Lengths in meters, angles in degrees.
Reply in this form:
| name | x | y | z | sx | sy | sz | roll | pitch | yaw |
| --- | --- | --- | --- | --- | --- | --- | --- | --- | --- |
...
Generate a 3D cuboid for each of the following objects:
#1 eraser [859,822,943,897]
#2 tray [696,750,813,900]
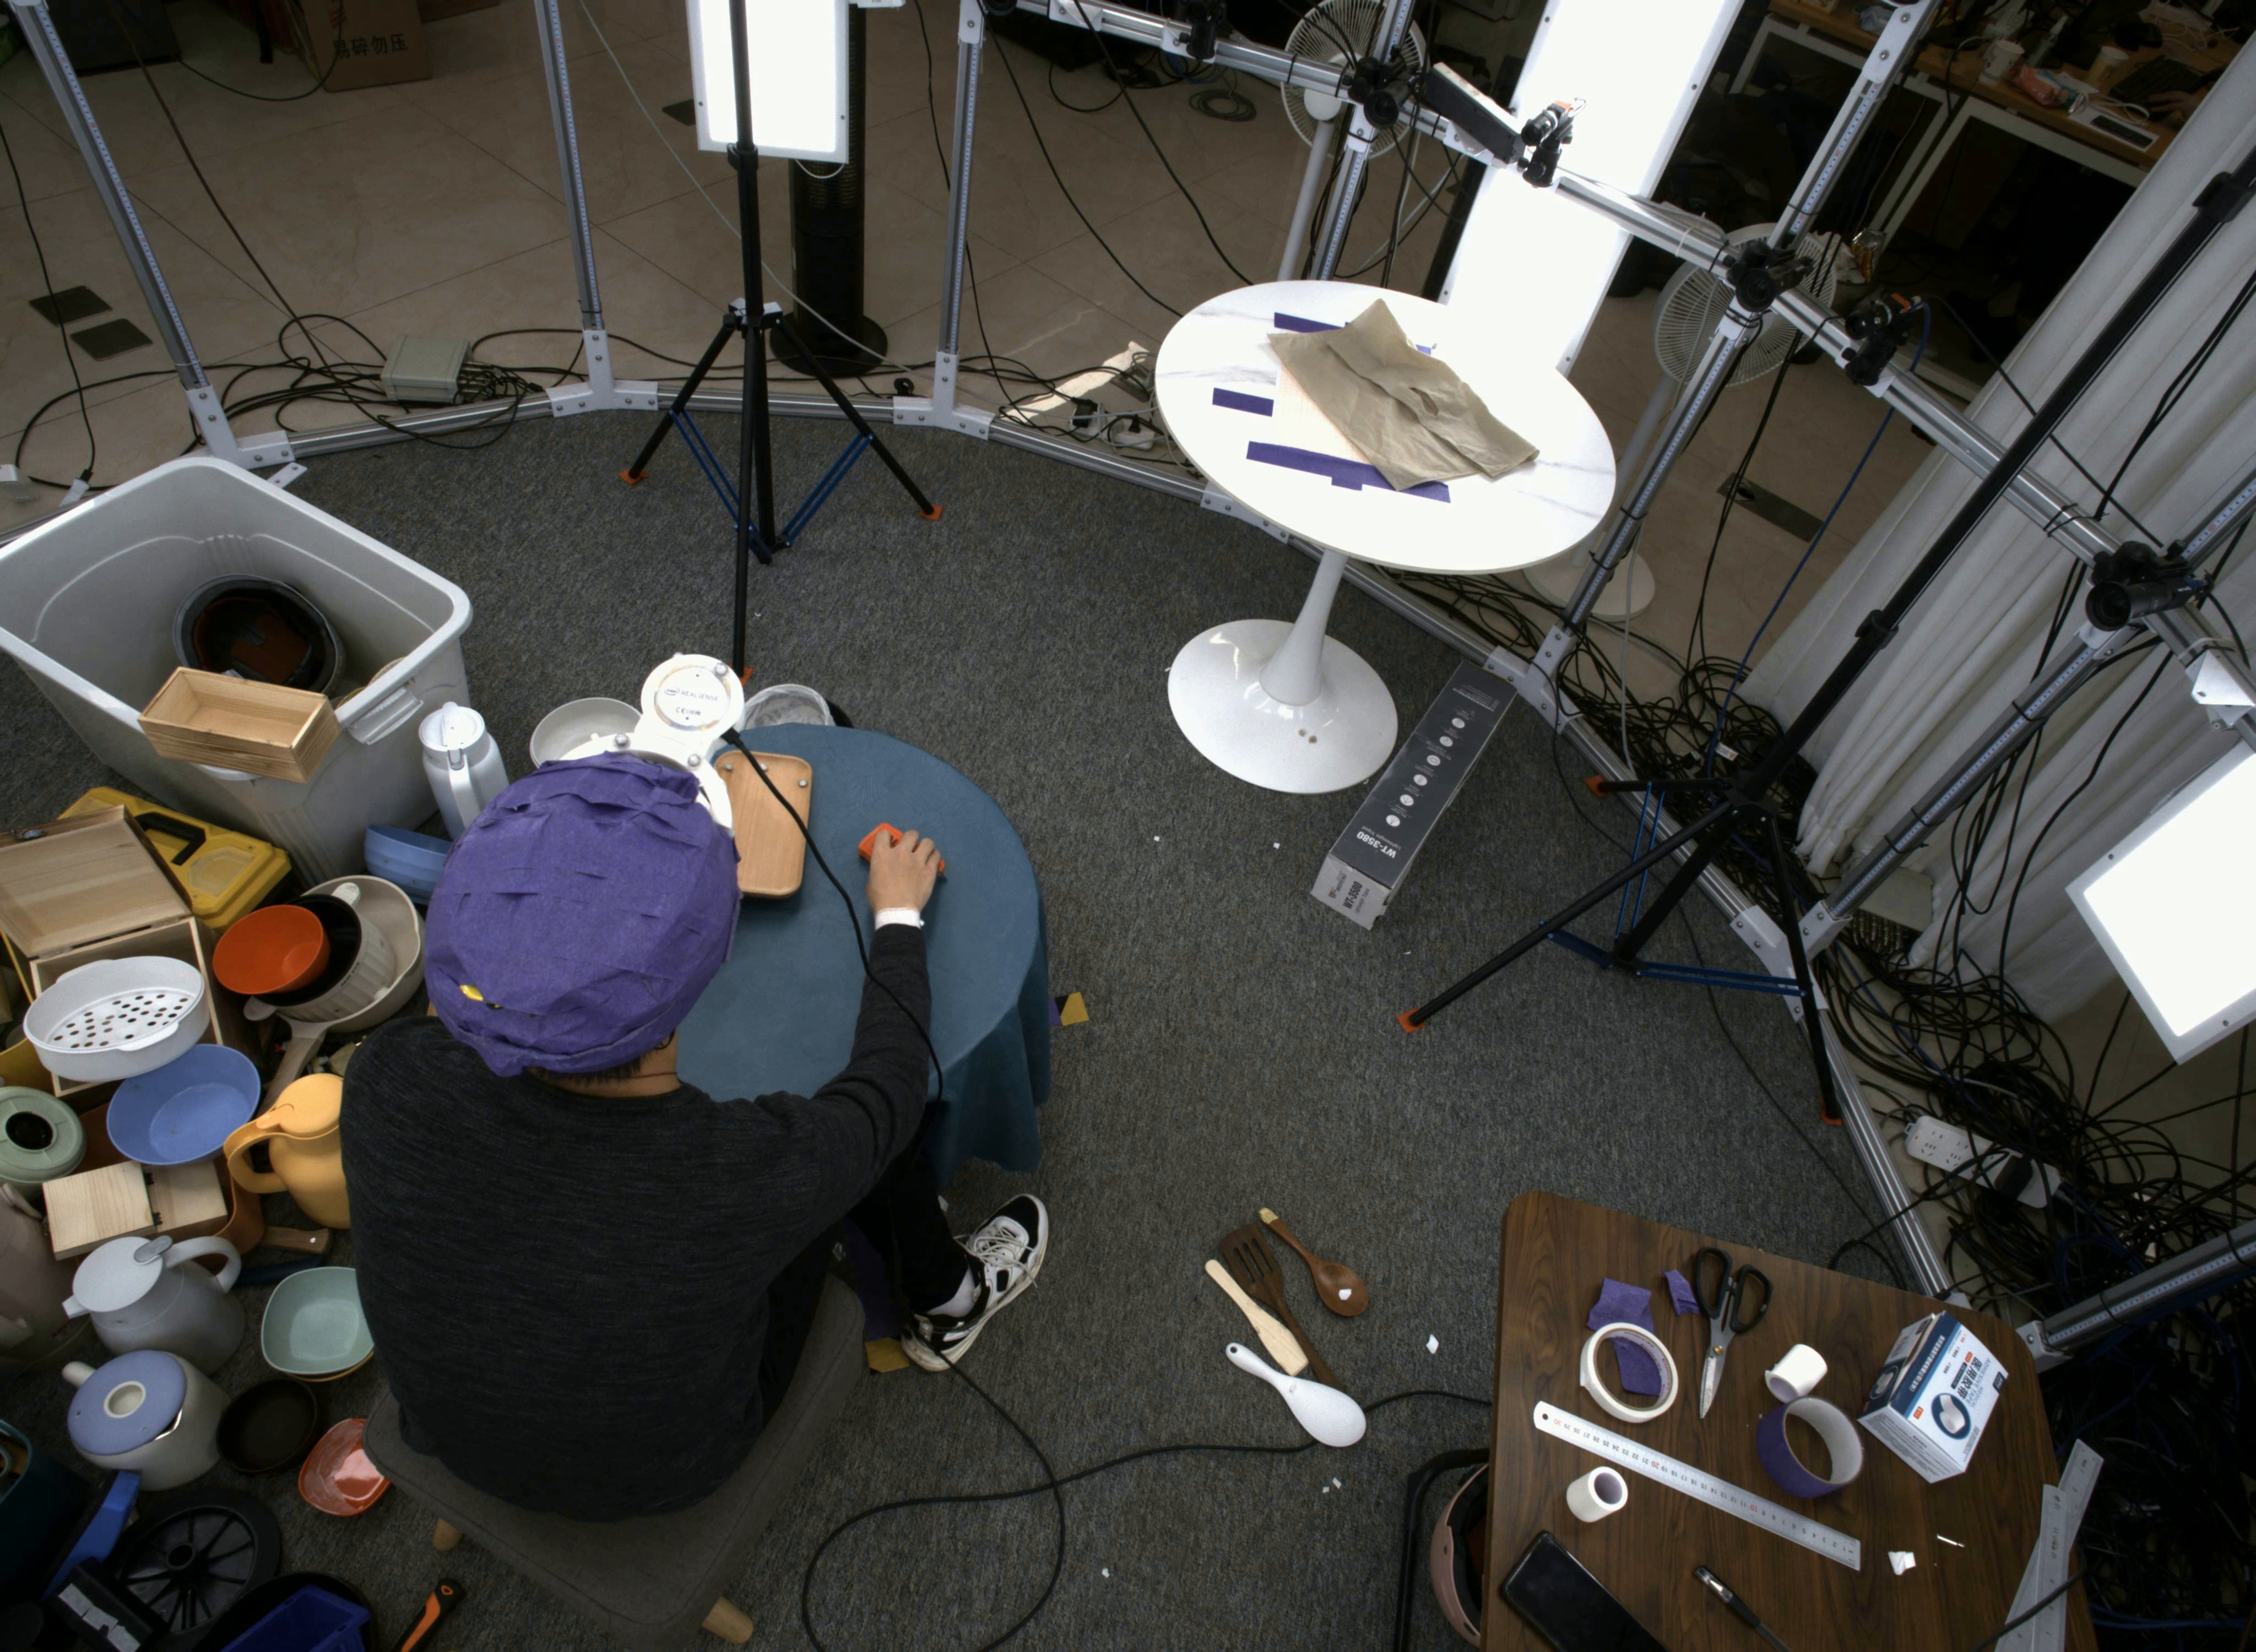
| name | x | y | z | sx | sy | sz | roll | pitch | yaw |
| --- | --- | --- | --- | --- | --- | --- | --- | --- | --- |
| eraser | -0.298 | 0.042 | 1.705 | 0.106 | 0.023 | 0.059 | 34 | 54 | 11 |
| tray | -0.481 | -0.005 | 1.676 | 0.131 | 0.023 | 0.245 | 6 | 47 | -14 |
